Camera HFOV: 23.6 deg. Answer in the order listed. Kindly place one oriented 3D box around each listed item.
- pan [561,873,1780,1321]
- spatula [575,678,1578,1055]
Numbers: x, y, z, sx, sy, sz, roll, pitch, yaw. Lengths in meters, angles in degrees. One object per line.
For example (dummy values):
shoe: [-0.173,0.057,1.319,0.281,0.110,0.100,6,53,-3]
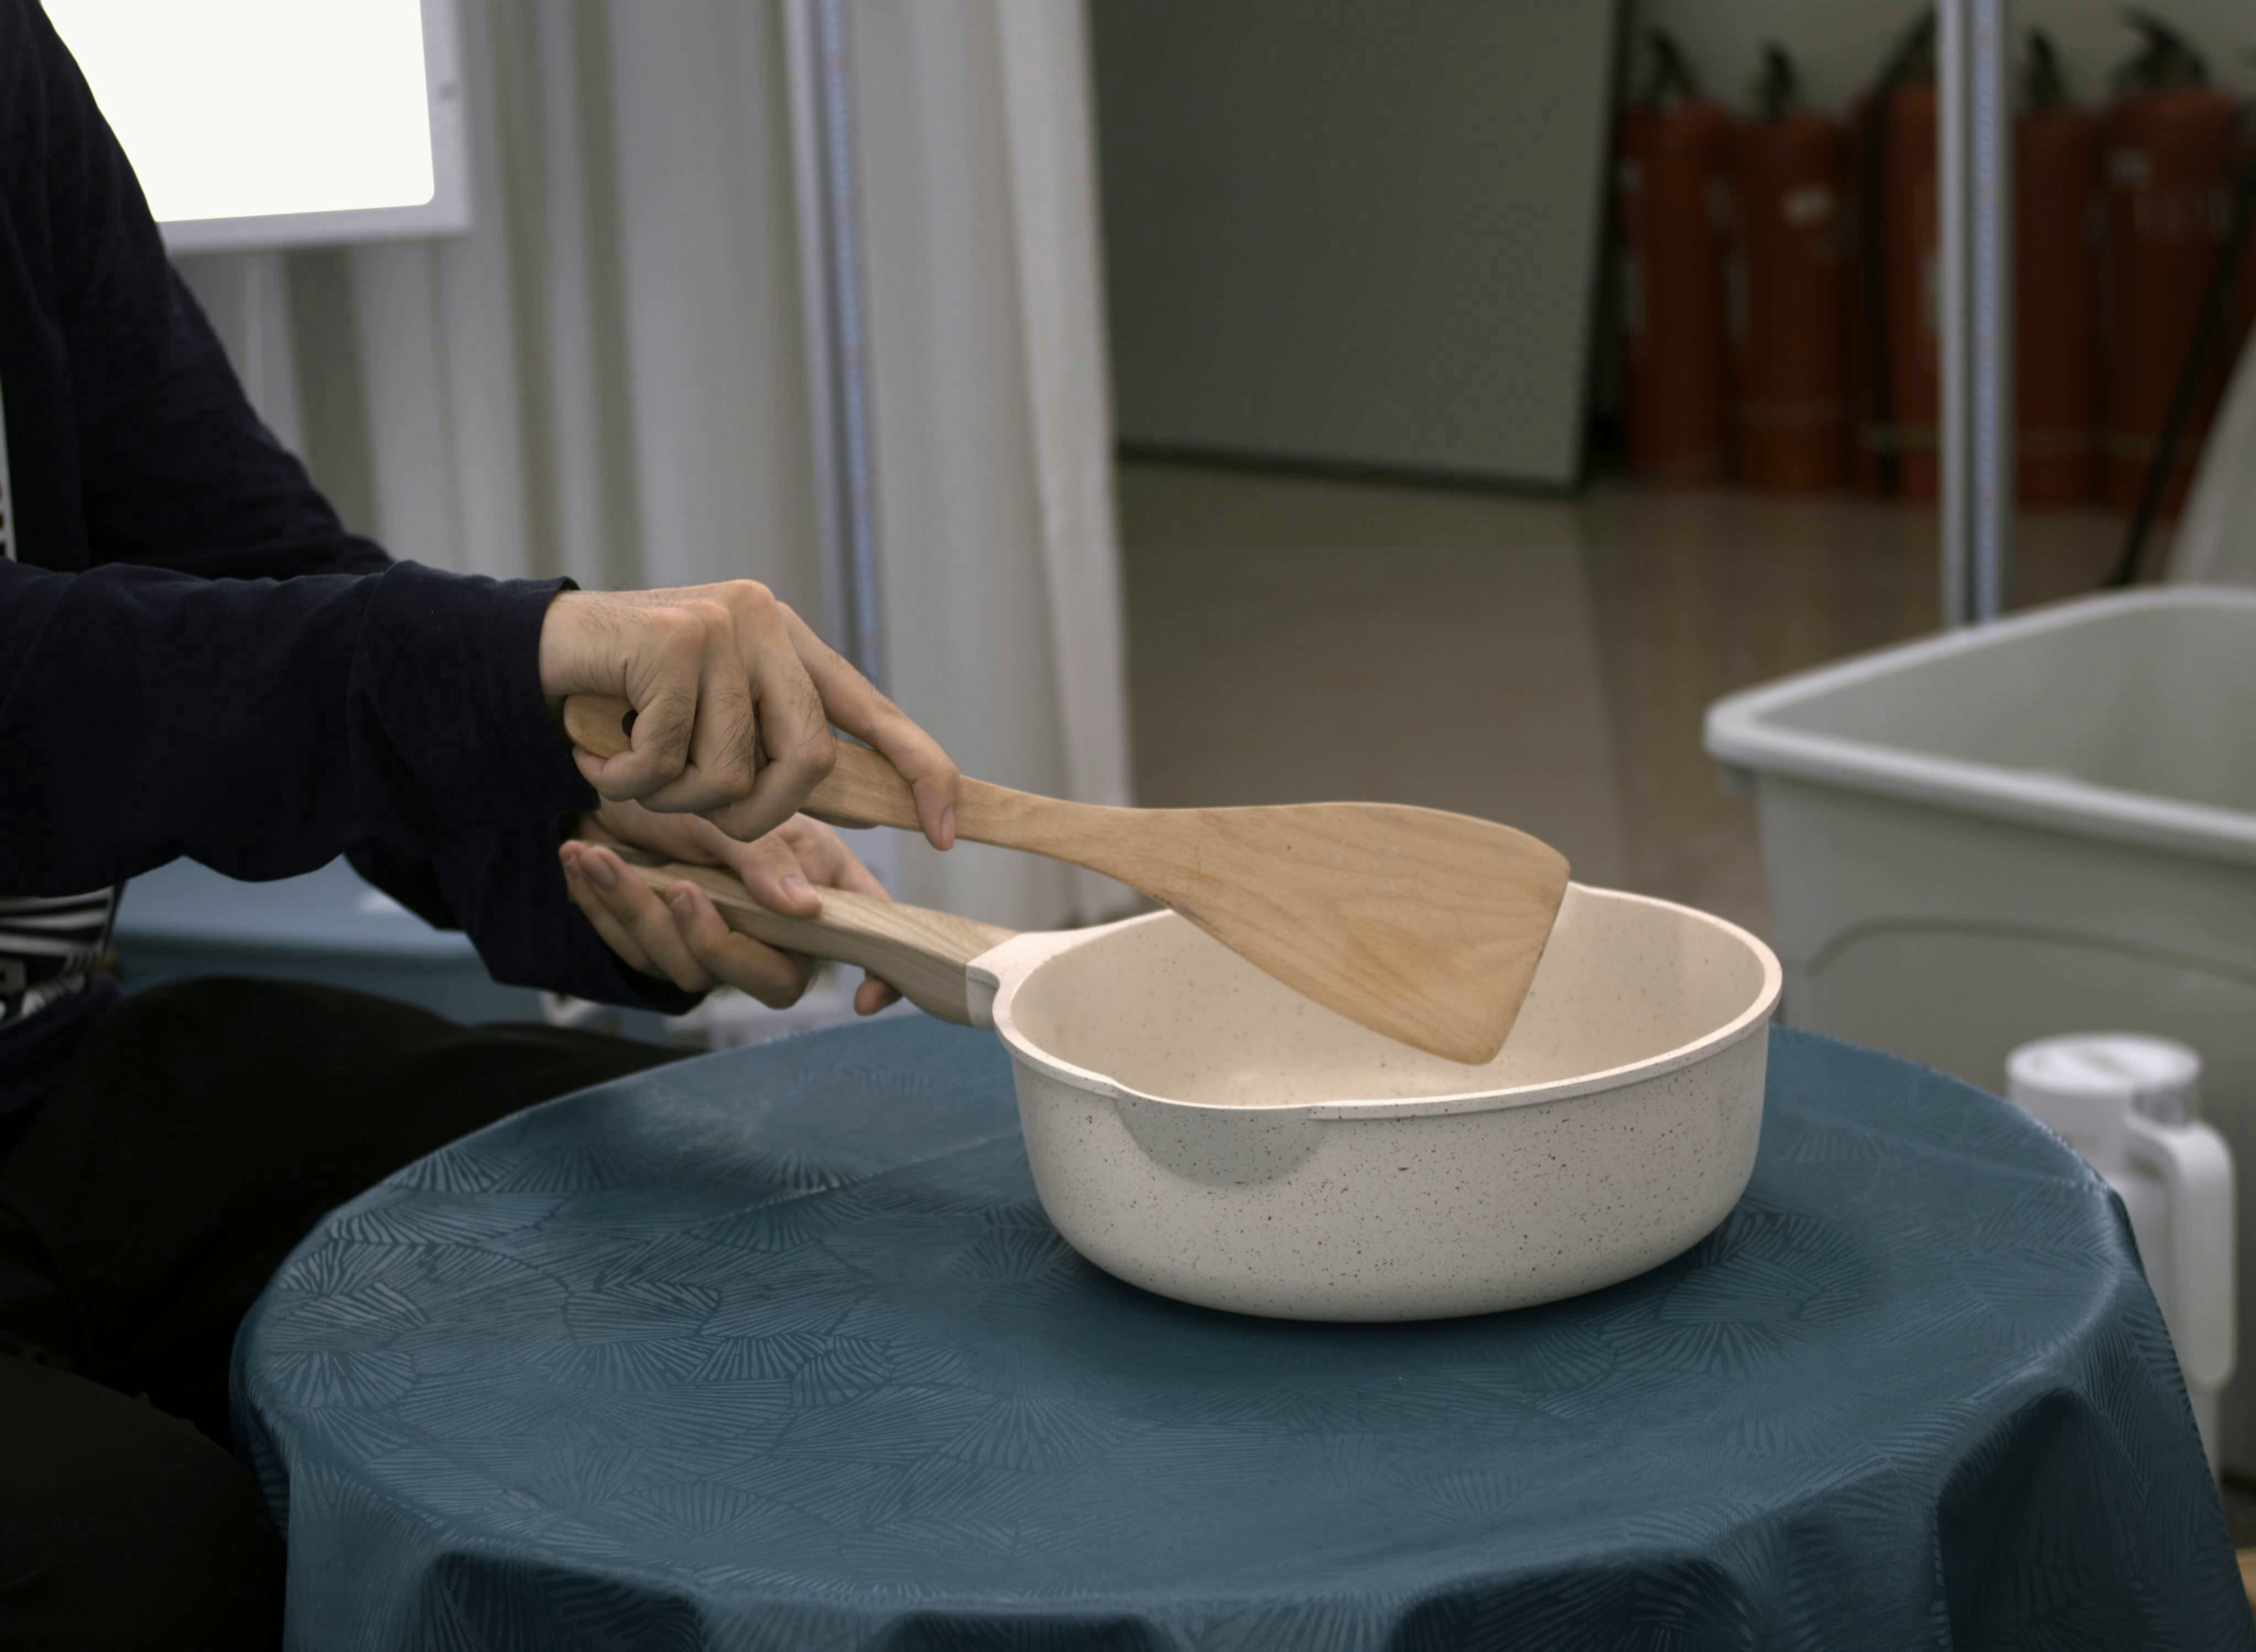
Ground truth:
pan: [0.004,0.076,1.762,0.436,0.103,0.260,3,16,29]
spatula: [-0.015,0.003,1.682,0.322,0.081,0.016,13,-10,-9]
